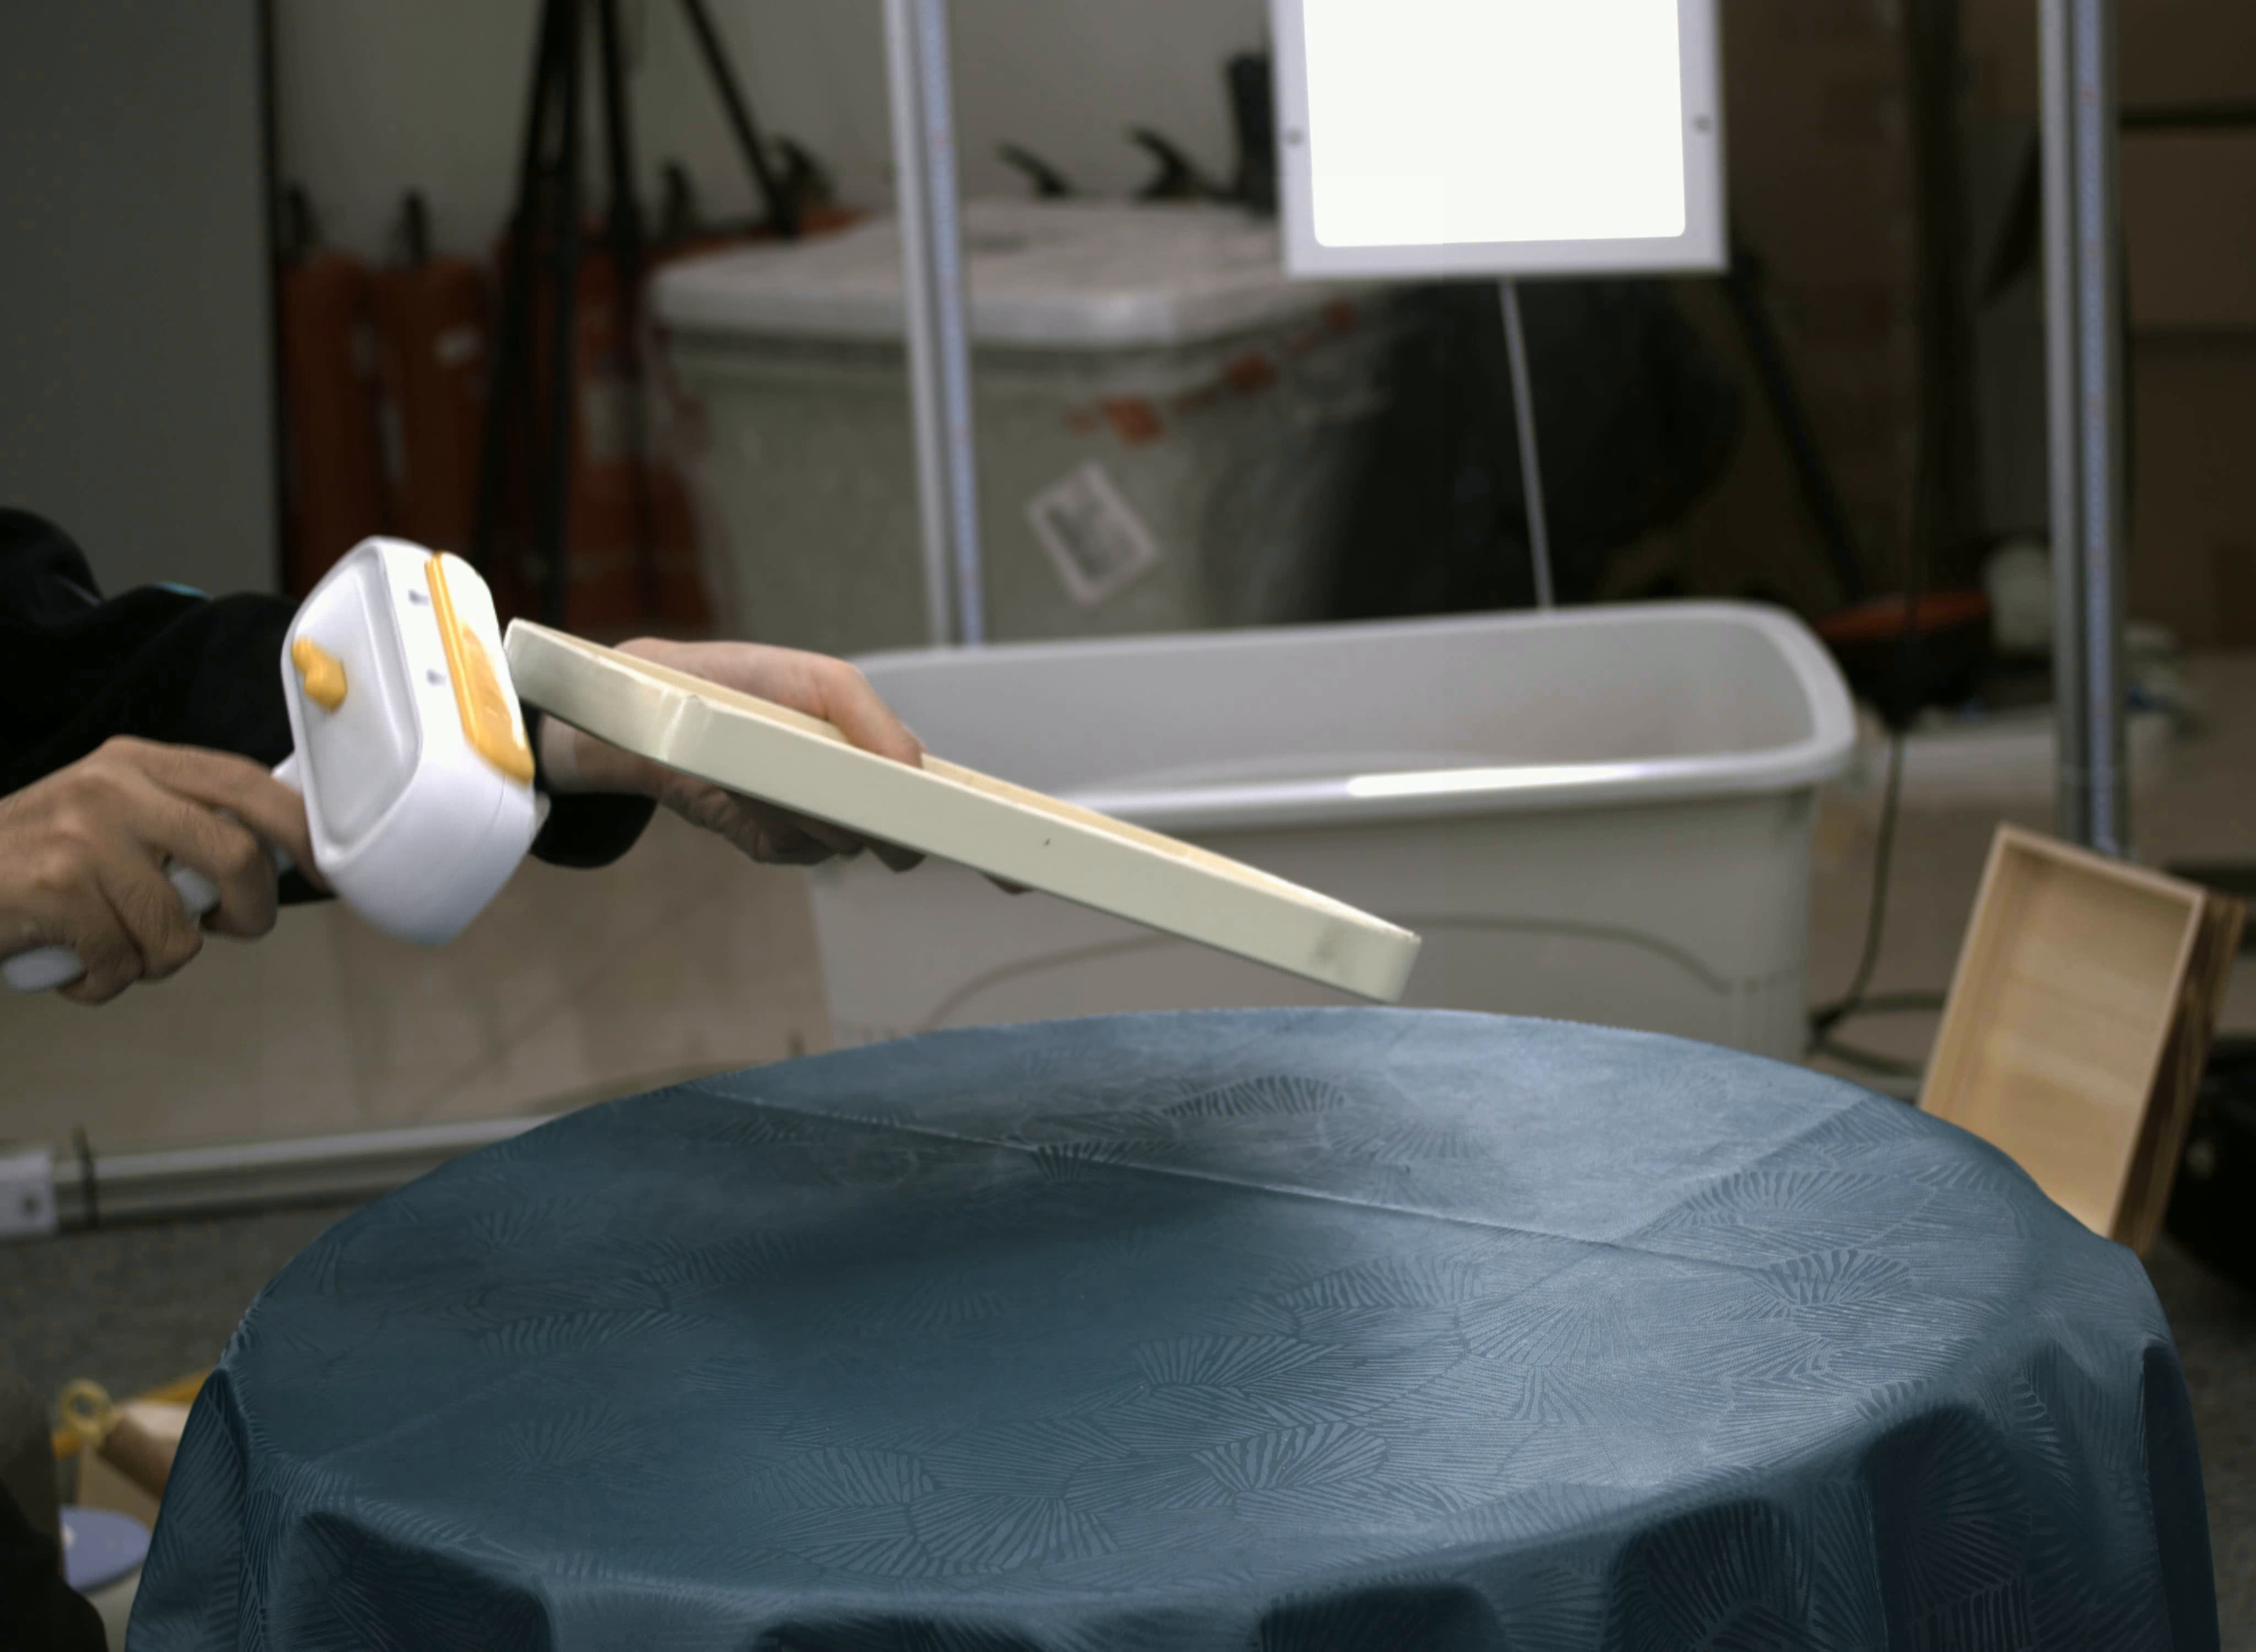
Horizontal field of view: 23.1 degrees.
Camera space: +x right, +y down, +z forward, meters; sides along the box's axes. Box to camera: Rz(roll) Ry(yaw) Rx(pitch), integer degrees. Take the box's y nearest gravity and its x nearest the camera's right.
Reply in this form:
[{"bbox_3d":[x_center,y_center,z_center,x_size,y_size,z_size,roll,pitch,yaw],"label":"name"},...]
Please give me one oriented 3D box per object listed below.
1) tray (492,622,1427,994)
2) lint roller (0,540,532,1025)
[{"bbox_3d":[-0.060,-0.006,1.912,0.295,0.027,0.194,18,0,-22],"label":"tray"},{"bbox_3d":[-0.286,0.005,1.799,0.193,0.073,0.194,-40,35,8],"label":"lint roller"}]
